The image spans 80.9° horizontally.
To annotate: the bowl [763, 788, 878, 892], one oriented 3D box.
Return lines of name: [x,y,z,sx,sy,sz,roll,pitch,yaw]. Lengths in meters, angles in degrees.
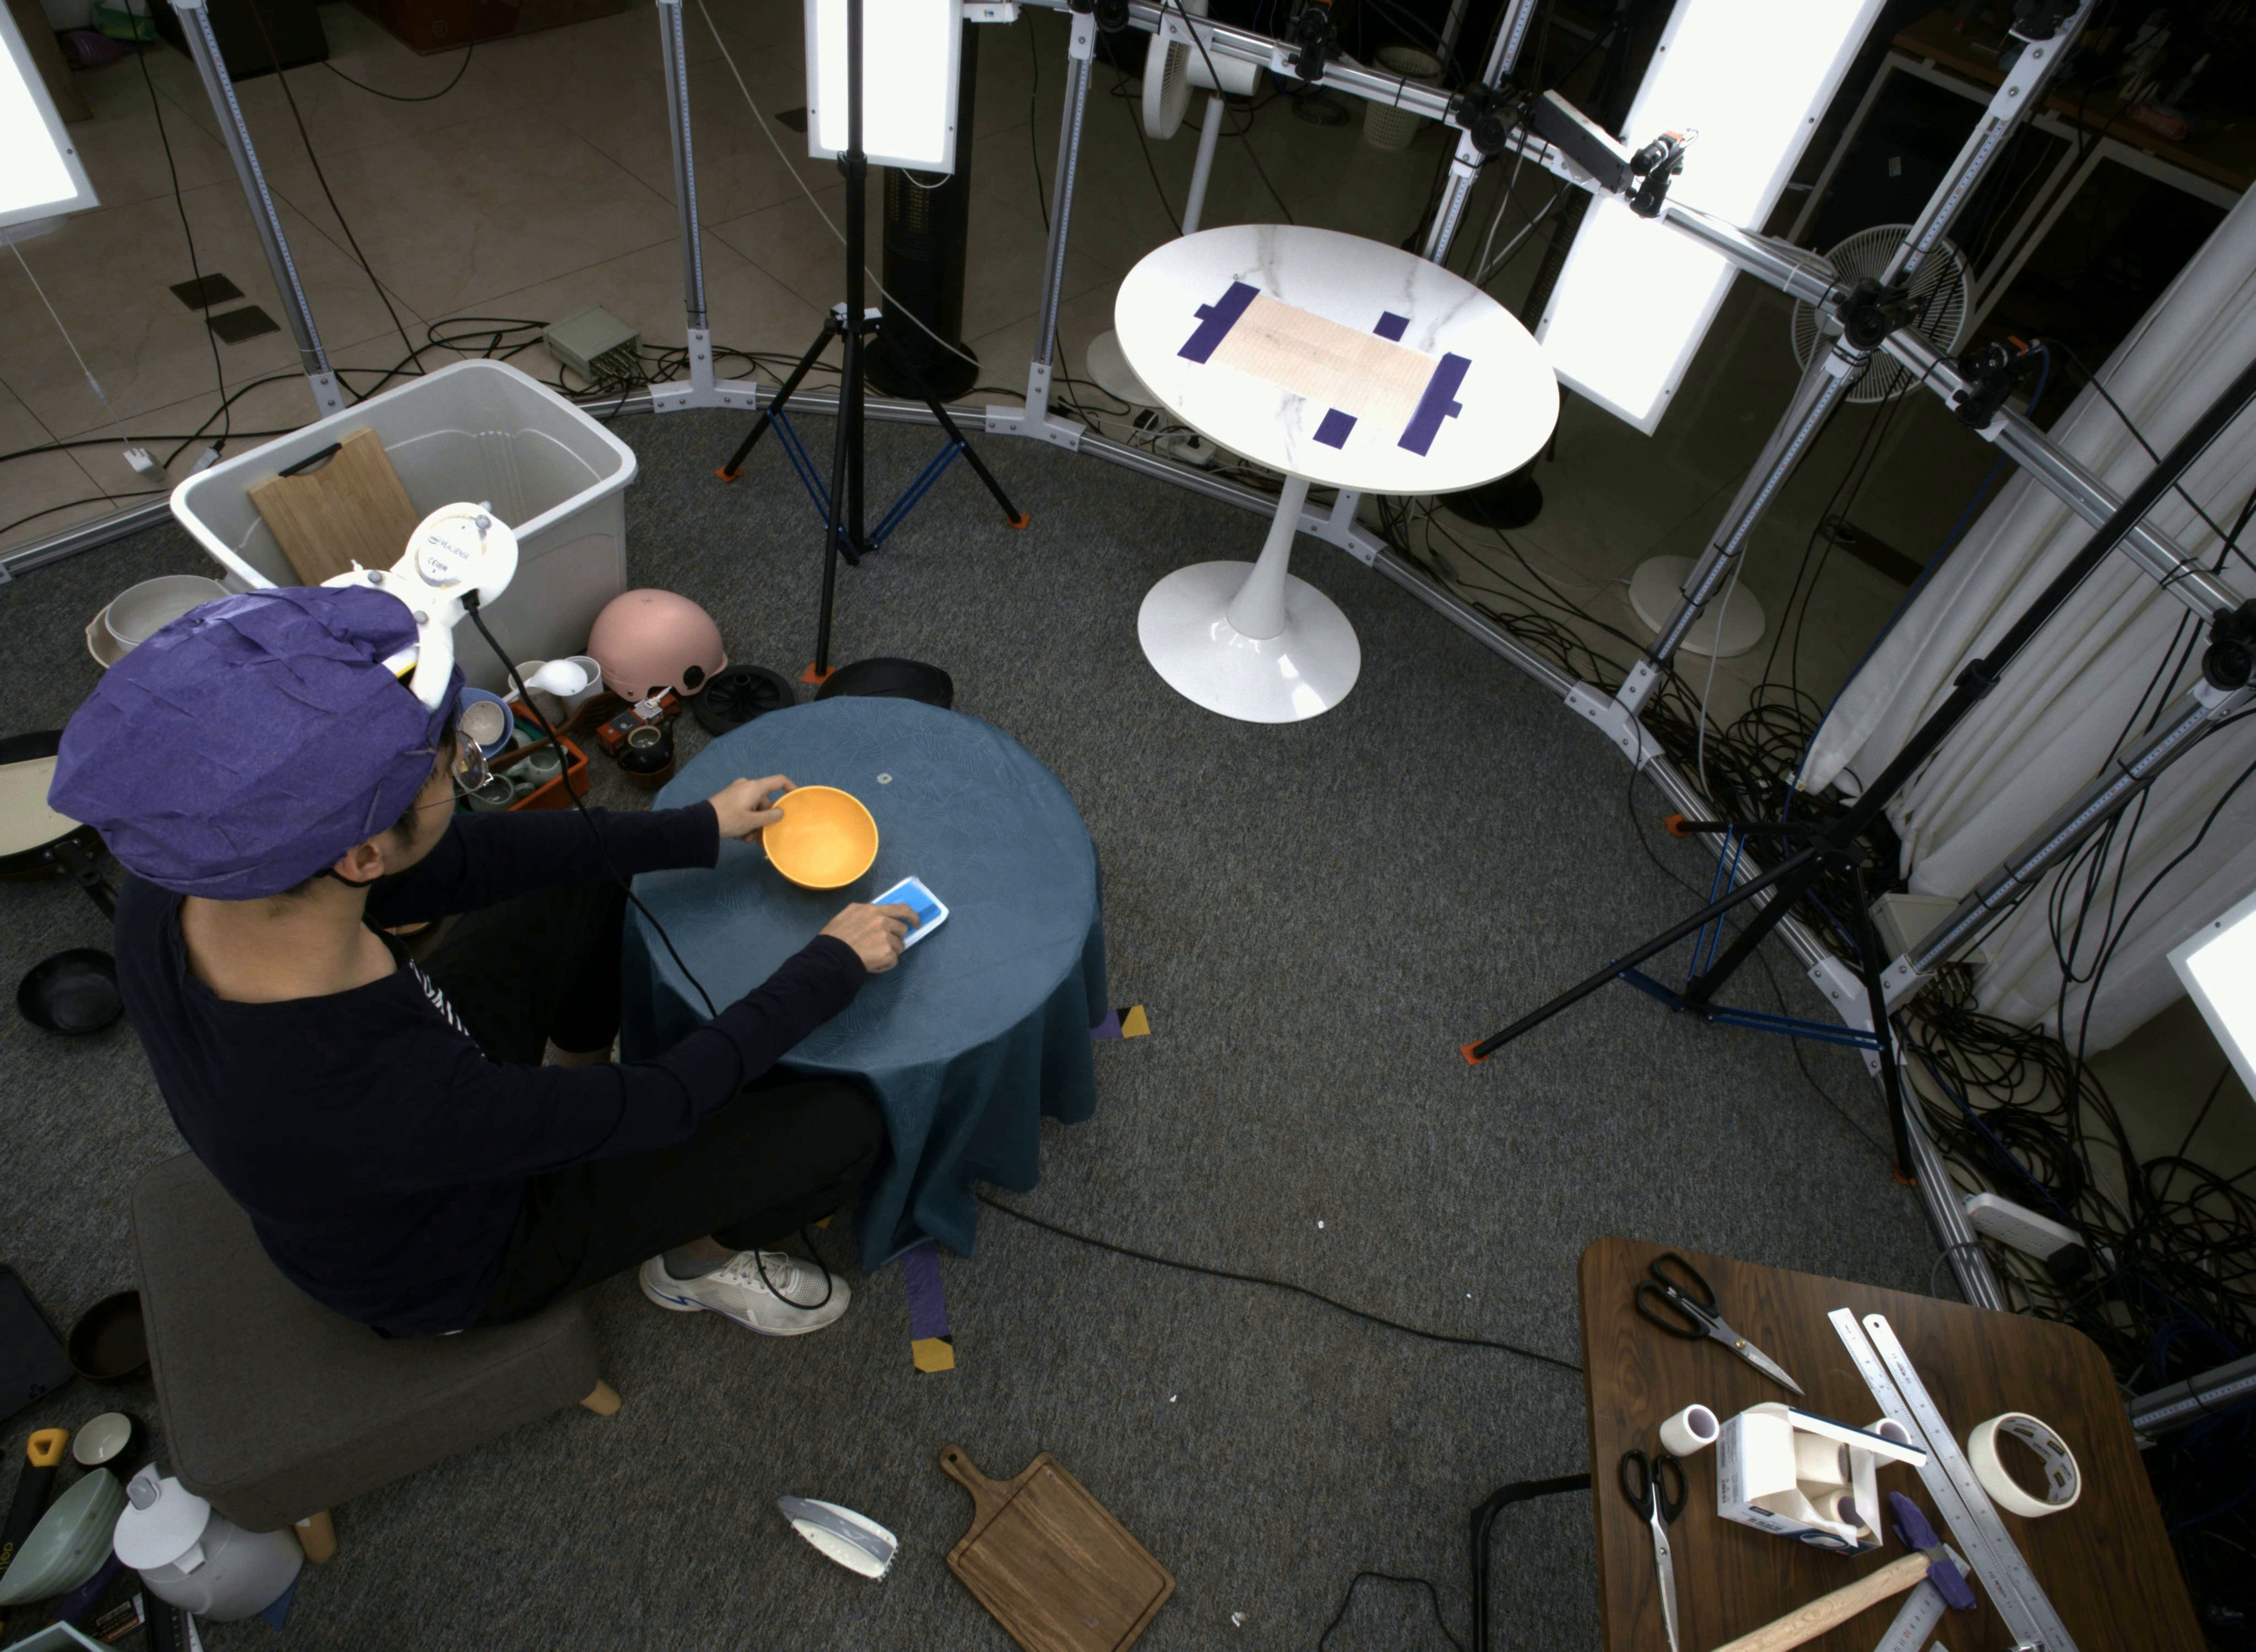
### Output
bowl: [-0.398,0.027,1.668,0.146,0.060,0.143,11,58,-17]

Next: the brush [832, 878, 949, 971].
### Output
brush: [-0.296,0.114,1.628,0.082,0.057,0.144,41,51,20]
